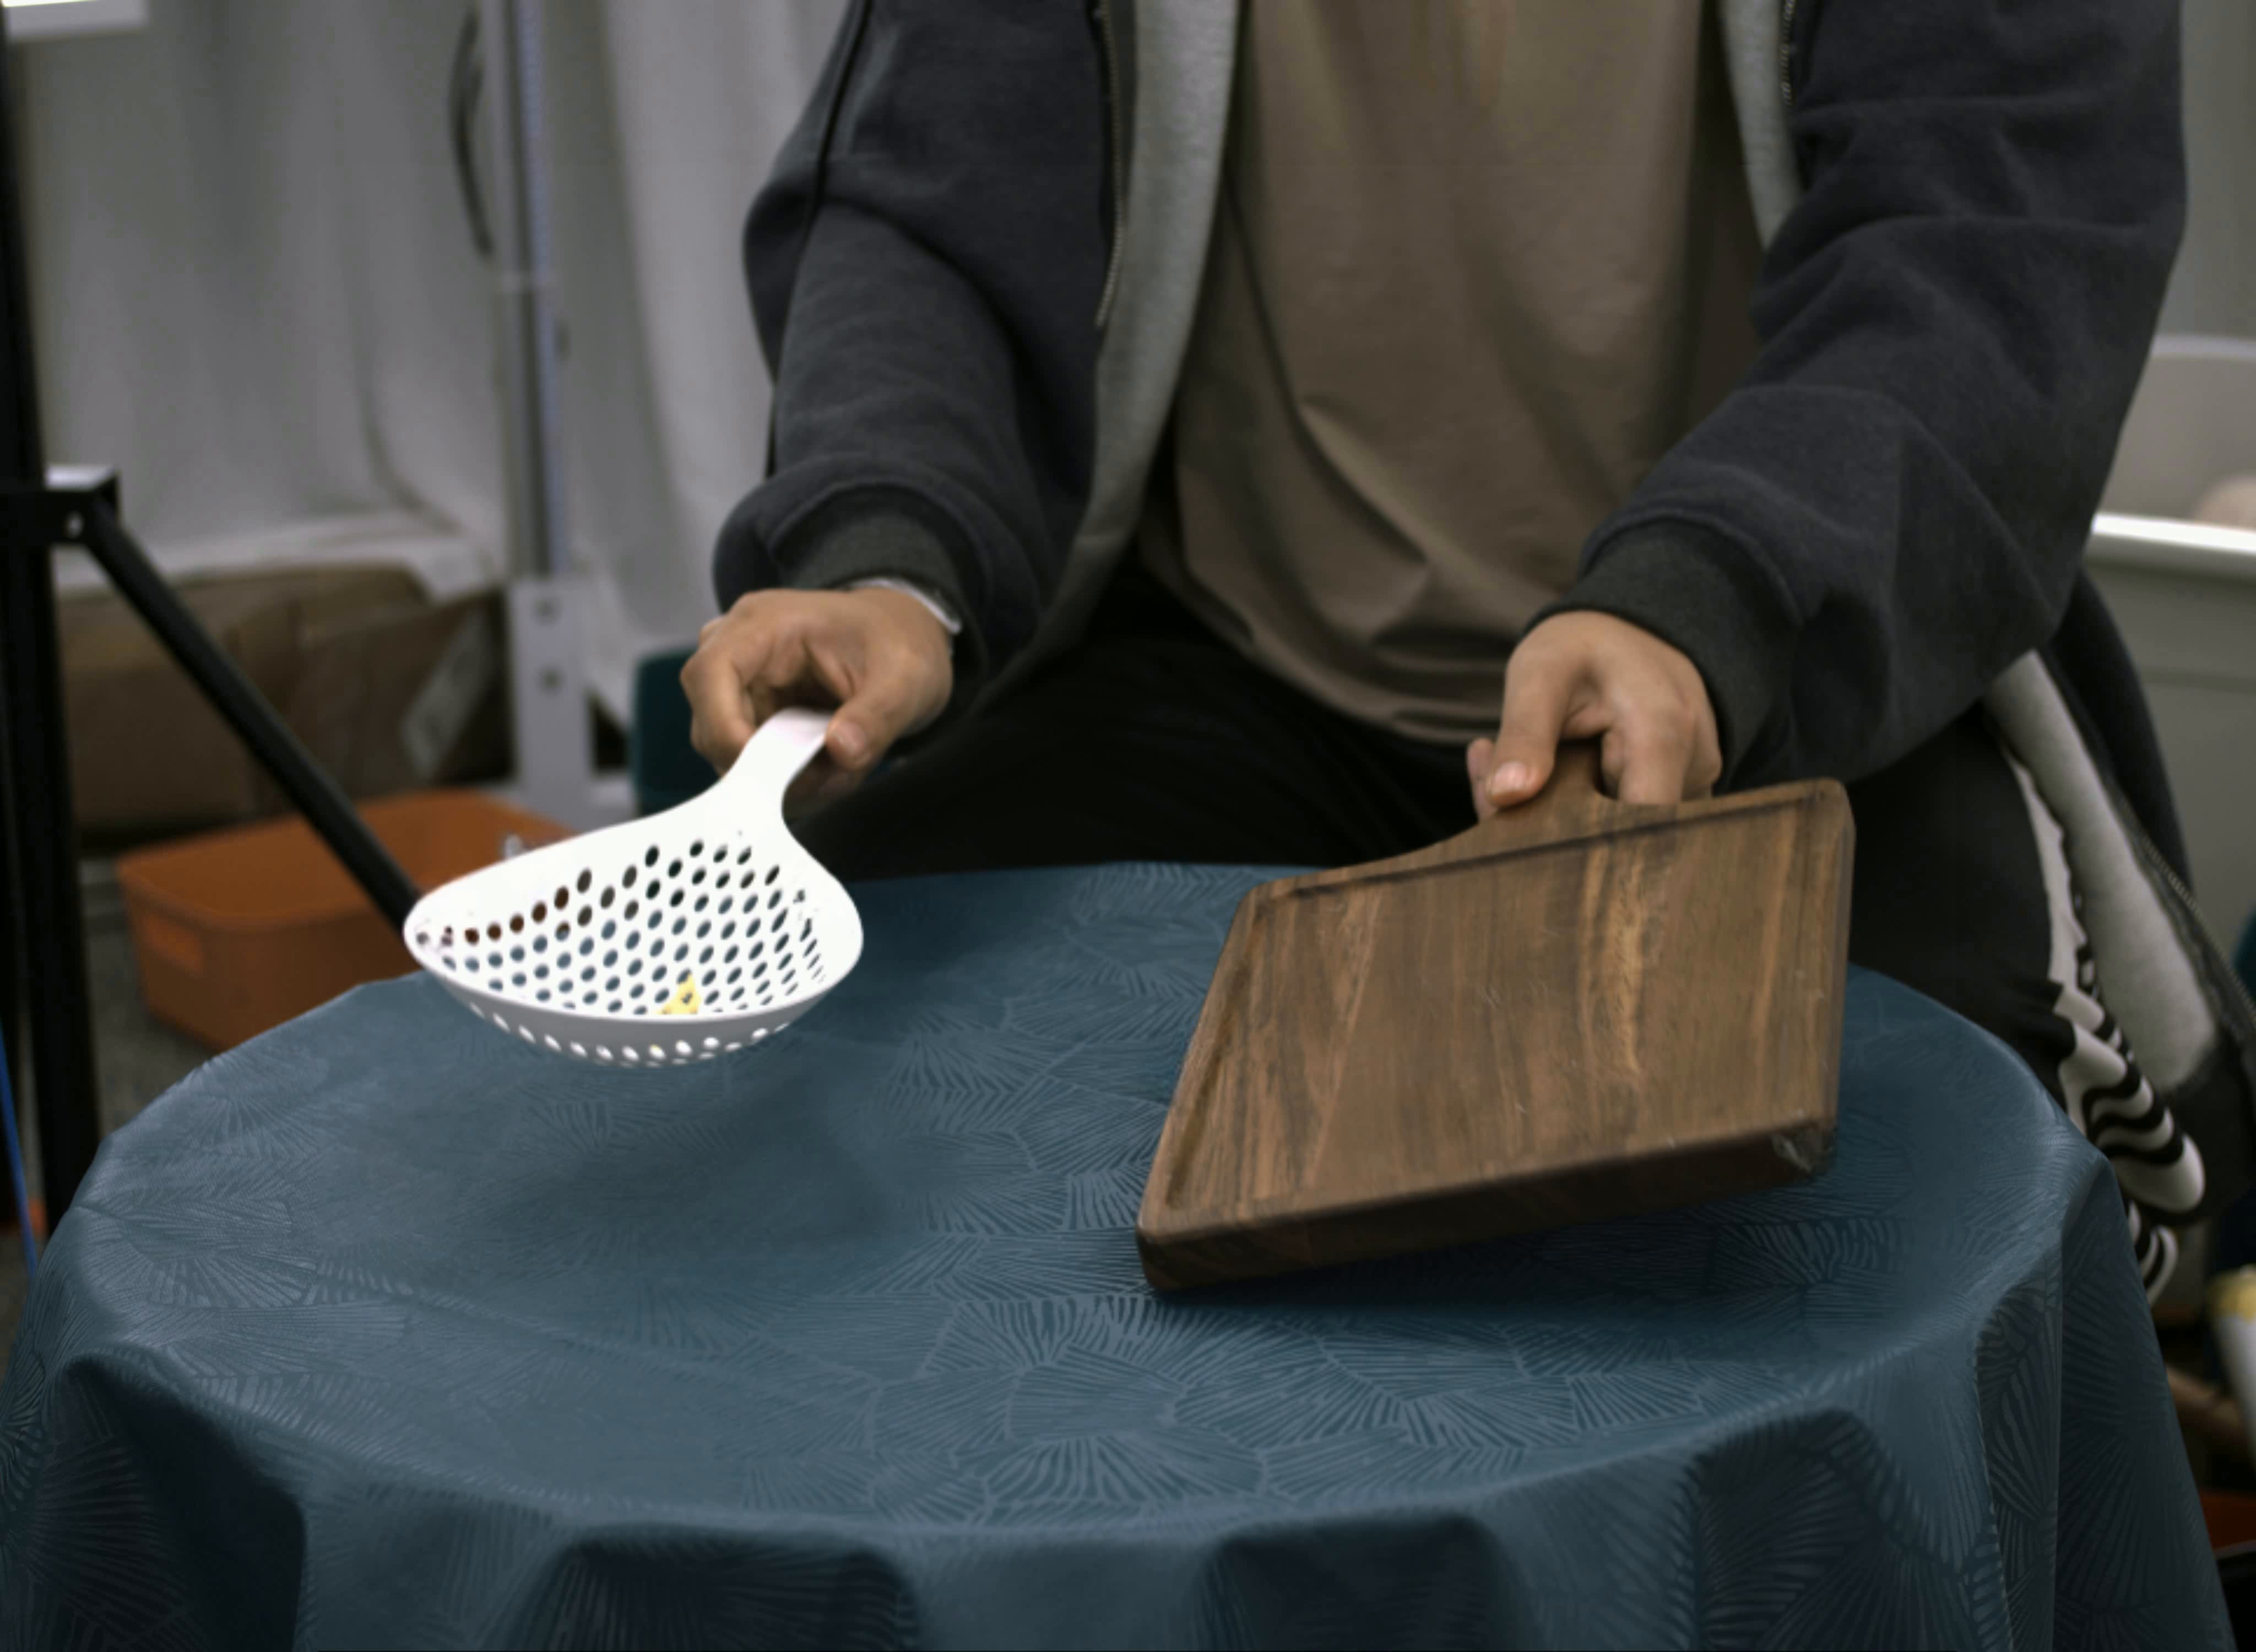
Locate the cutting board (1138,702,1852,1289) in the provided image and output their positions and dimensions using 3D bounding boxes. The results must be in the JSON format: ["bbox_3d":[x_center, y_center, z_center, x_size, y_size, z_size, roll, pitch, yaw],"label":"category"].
[{"bbox_3d":[0.120,0.036,1.596,0.202,0.023,0.352,-12,20,14],"label":"cutting board"}]

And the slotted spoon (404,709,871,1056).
[{"bbox_3d":[-0.128,0.004,1.682,0.137,0.050,0.347,6,22,8],"label":"slotted spoon"}]
